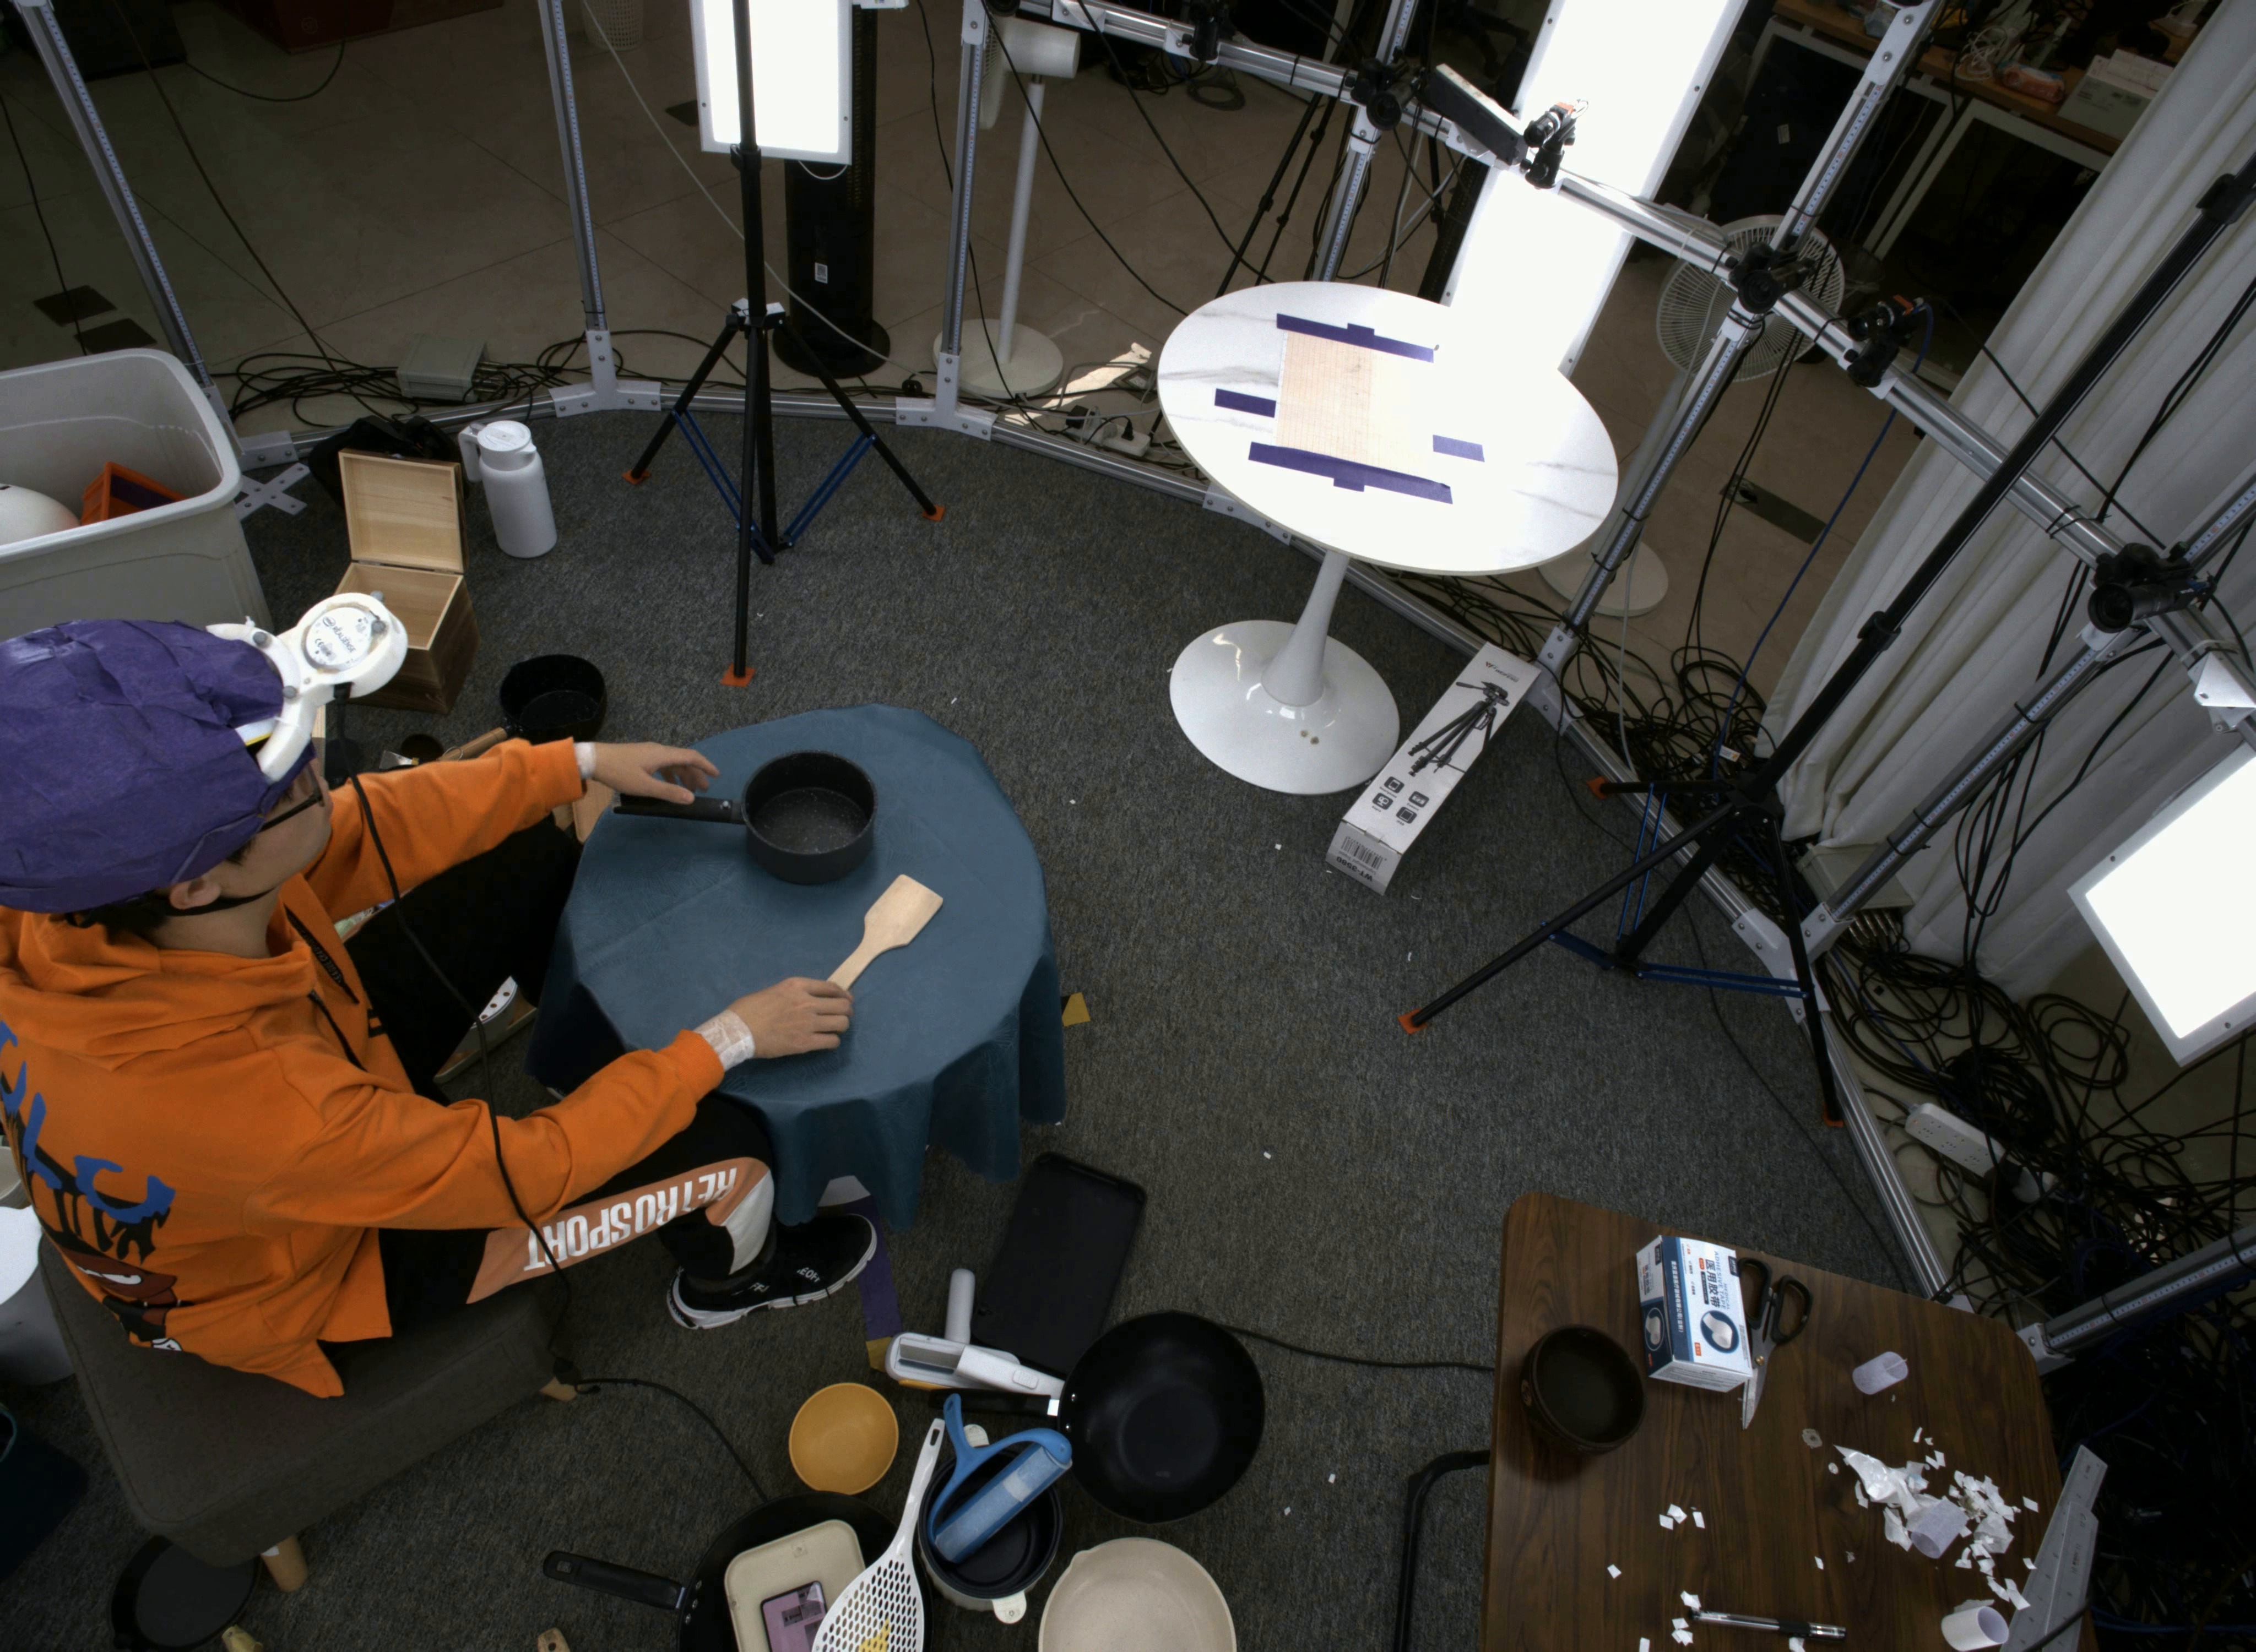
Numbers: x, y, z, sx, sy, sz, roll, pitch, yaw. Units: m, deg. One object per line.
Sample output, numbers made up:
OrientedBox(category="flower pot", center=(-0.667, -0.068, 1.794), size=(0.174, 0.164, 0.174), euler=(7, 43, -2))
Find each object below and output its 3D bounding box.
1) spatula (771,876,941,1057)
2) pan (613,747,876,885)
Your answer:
OrientedBox(category="spatula", center=(-0.338, 0.172, 1.601), size=(0.071, 0.011, 0.292), euler=(33, 52, 6))
OrientedBox(category="pan", center=(-0.490, -0.016, 1.653), size=(0.330, 0.088, 0.168), euler=(3, 52, -15))
